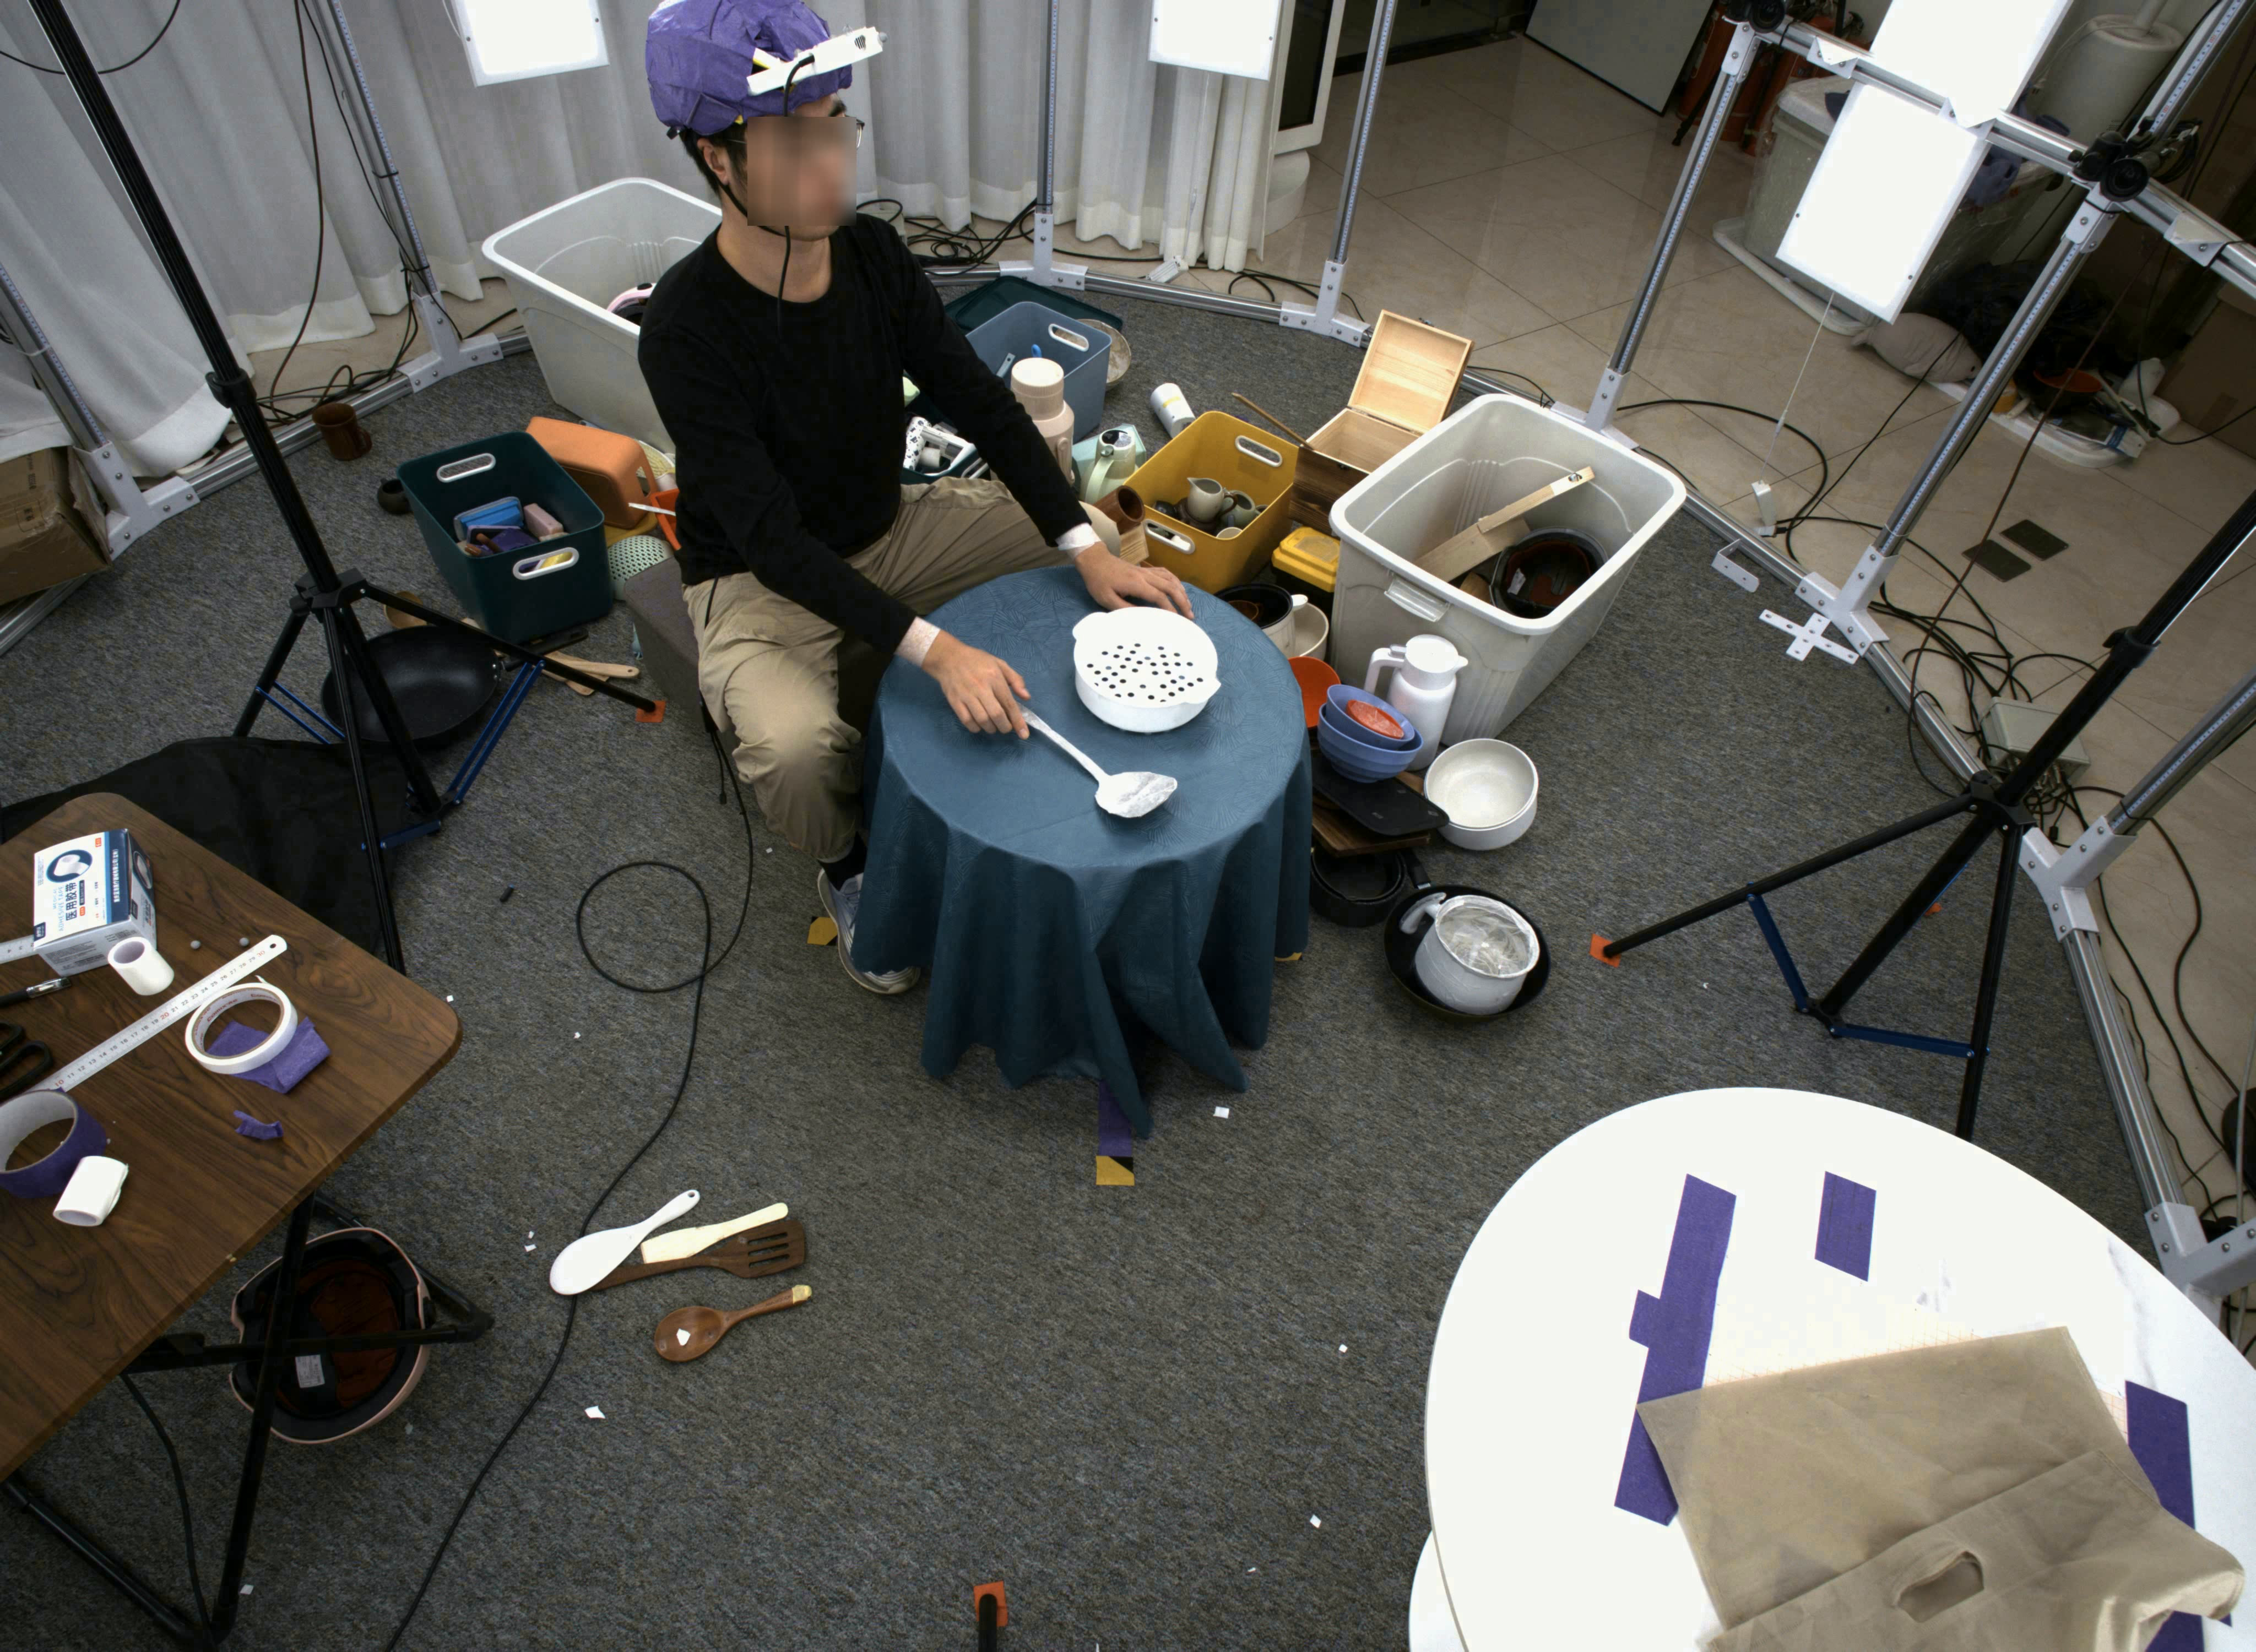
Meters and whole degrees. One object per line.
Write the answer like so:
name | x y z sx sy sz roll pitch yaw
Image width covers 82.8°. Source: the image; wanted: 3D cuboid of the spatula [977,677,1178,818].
spatula | -0.088 -0.119 1.743 0.370 0.044 0.099 38 59 26

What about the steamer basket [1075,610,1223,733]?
steamer basket | 0.027 -0.218 1.816 0.233 0.067 0.204 31 53 23
